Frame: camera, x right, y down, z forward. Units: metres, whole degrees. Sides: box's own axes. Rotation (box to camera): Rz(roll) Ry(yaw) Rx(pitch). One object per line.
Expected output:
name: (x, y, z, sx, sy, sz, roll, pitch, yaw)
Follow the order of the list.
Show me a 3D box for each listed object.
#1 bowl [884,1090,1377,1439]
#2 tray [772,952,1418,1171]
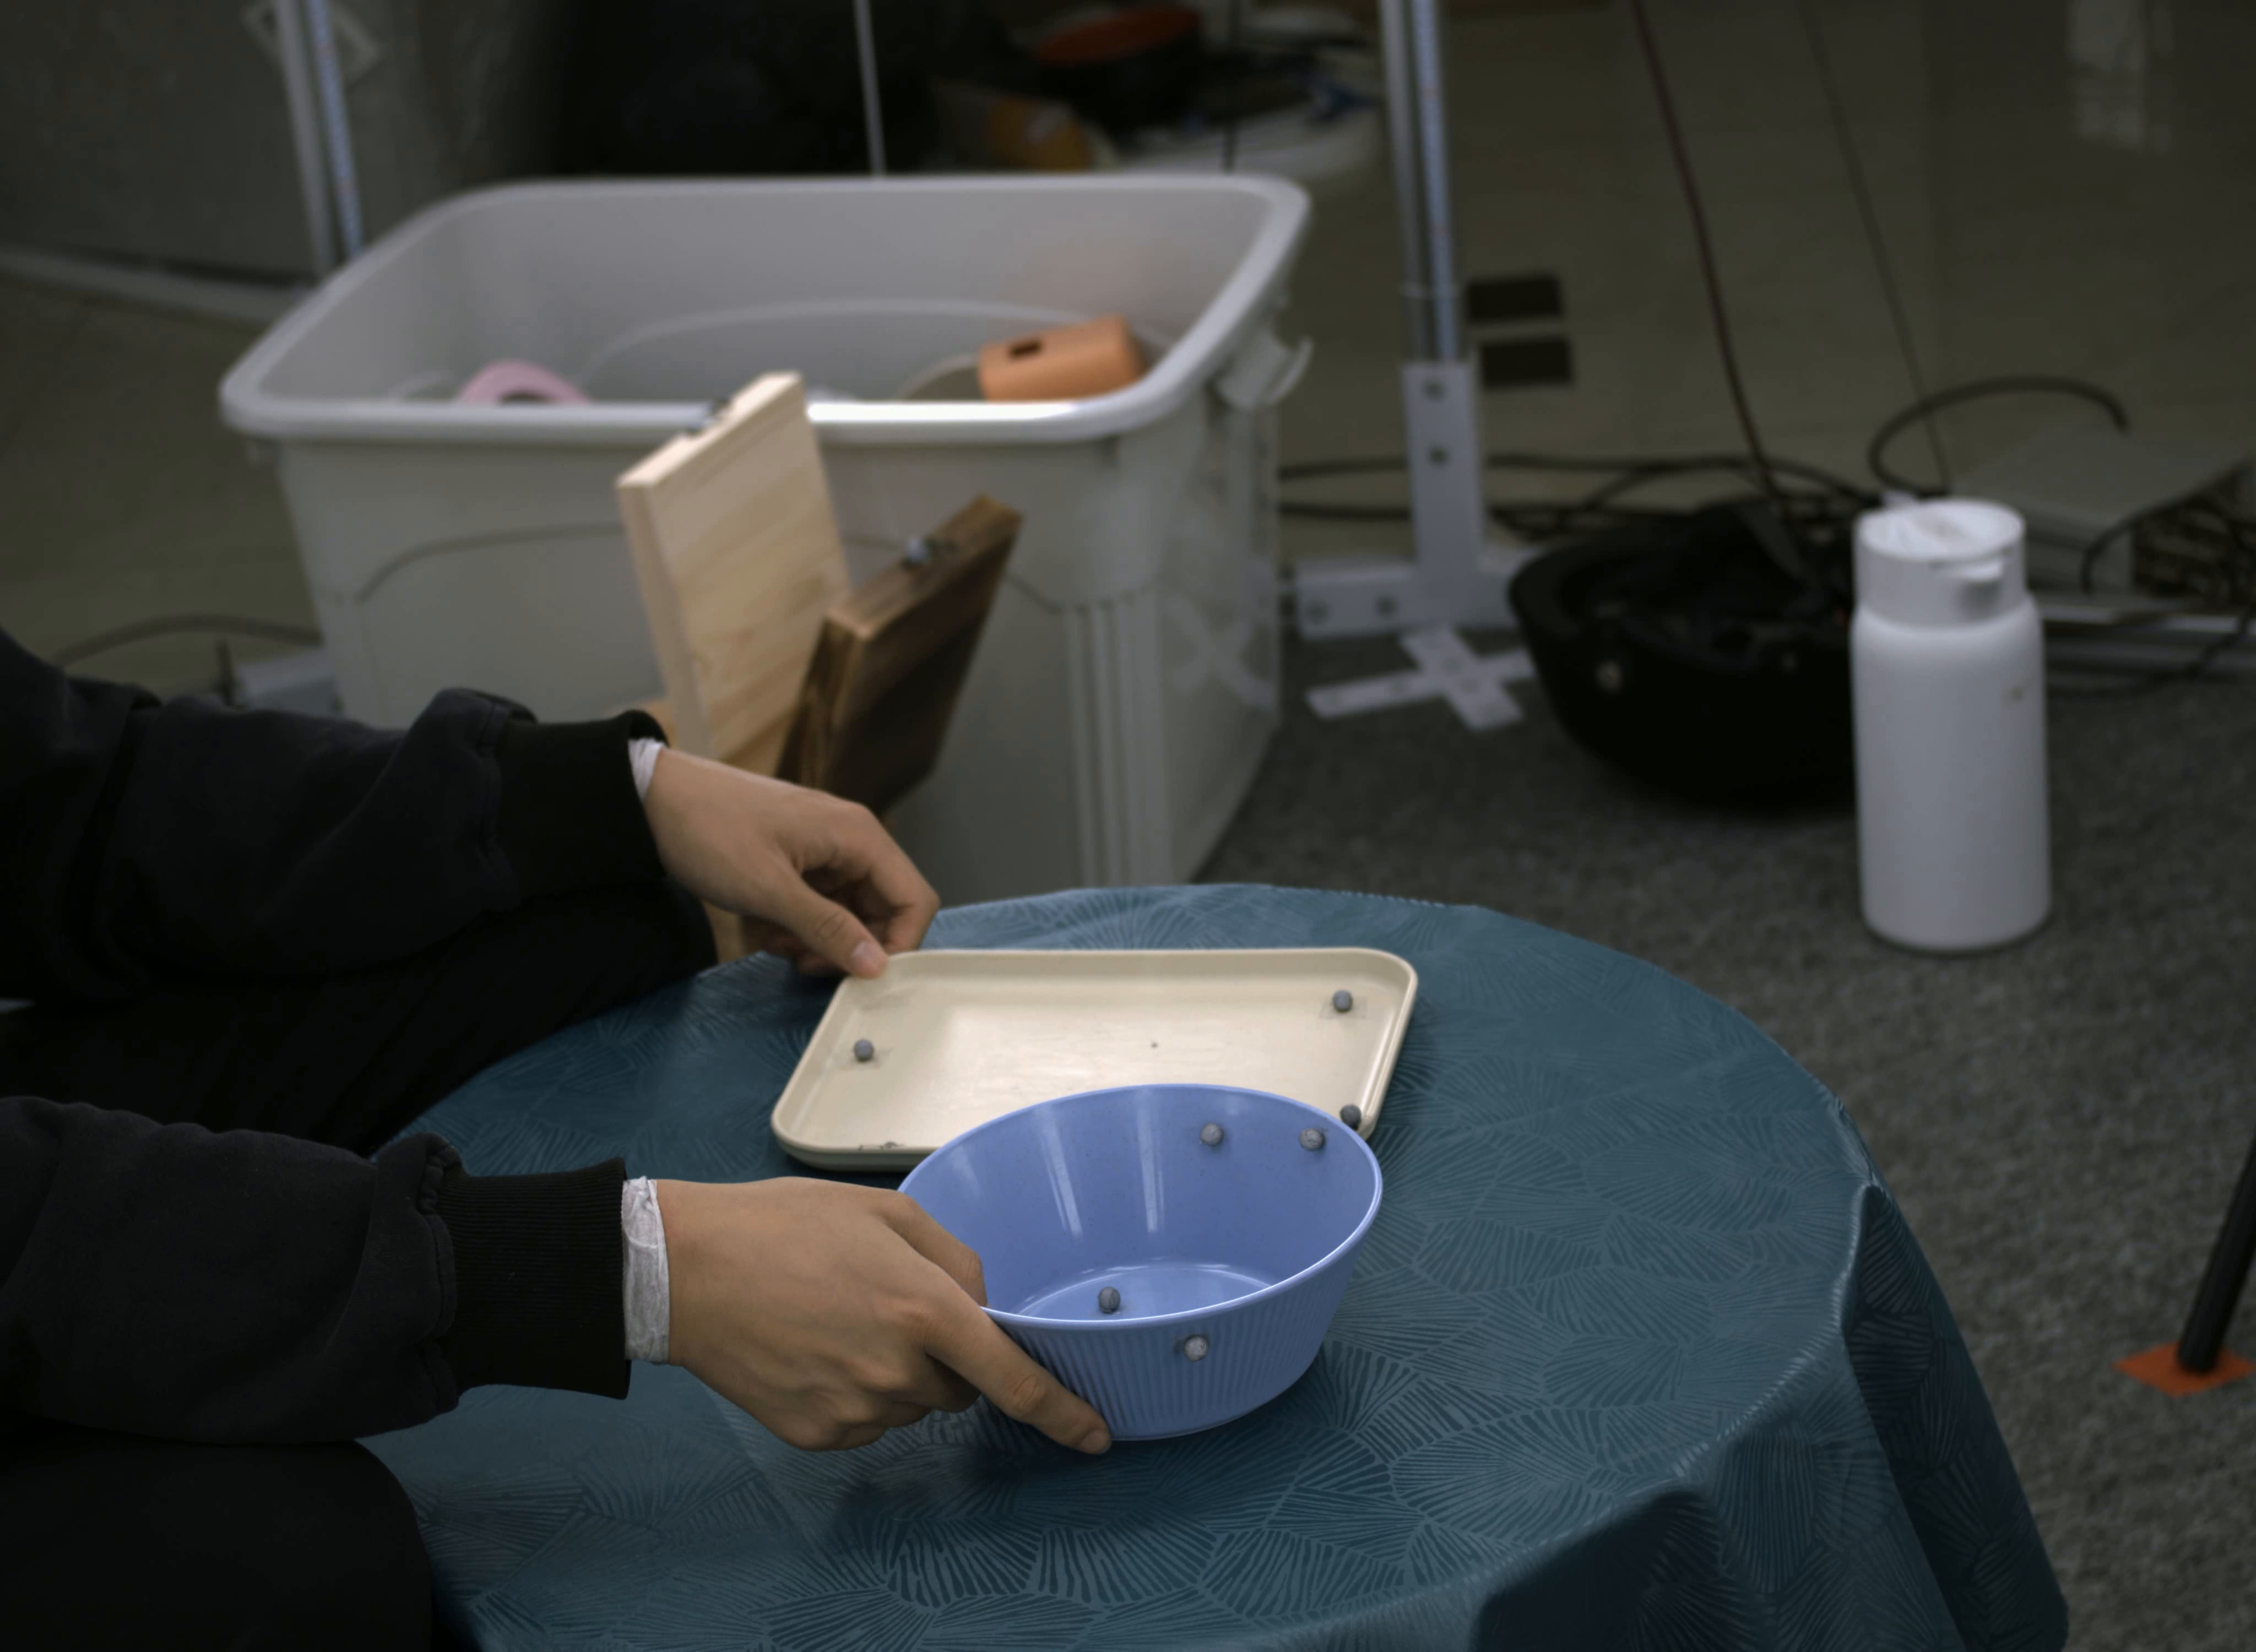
bowl: (0.003, 0.162, 2.019, 0.176, 0.071, 0.173, -5, 25, 2)
tray: (-0.011, 0.094, 2.231, 0.239, 0.018, 0.169, 0, 25, 13)
